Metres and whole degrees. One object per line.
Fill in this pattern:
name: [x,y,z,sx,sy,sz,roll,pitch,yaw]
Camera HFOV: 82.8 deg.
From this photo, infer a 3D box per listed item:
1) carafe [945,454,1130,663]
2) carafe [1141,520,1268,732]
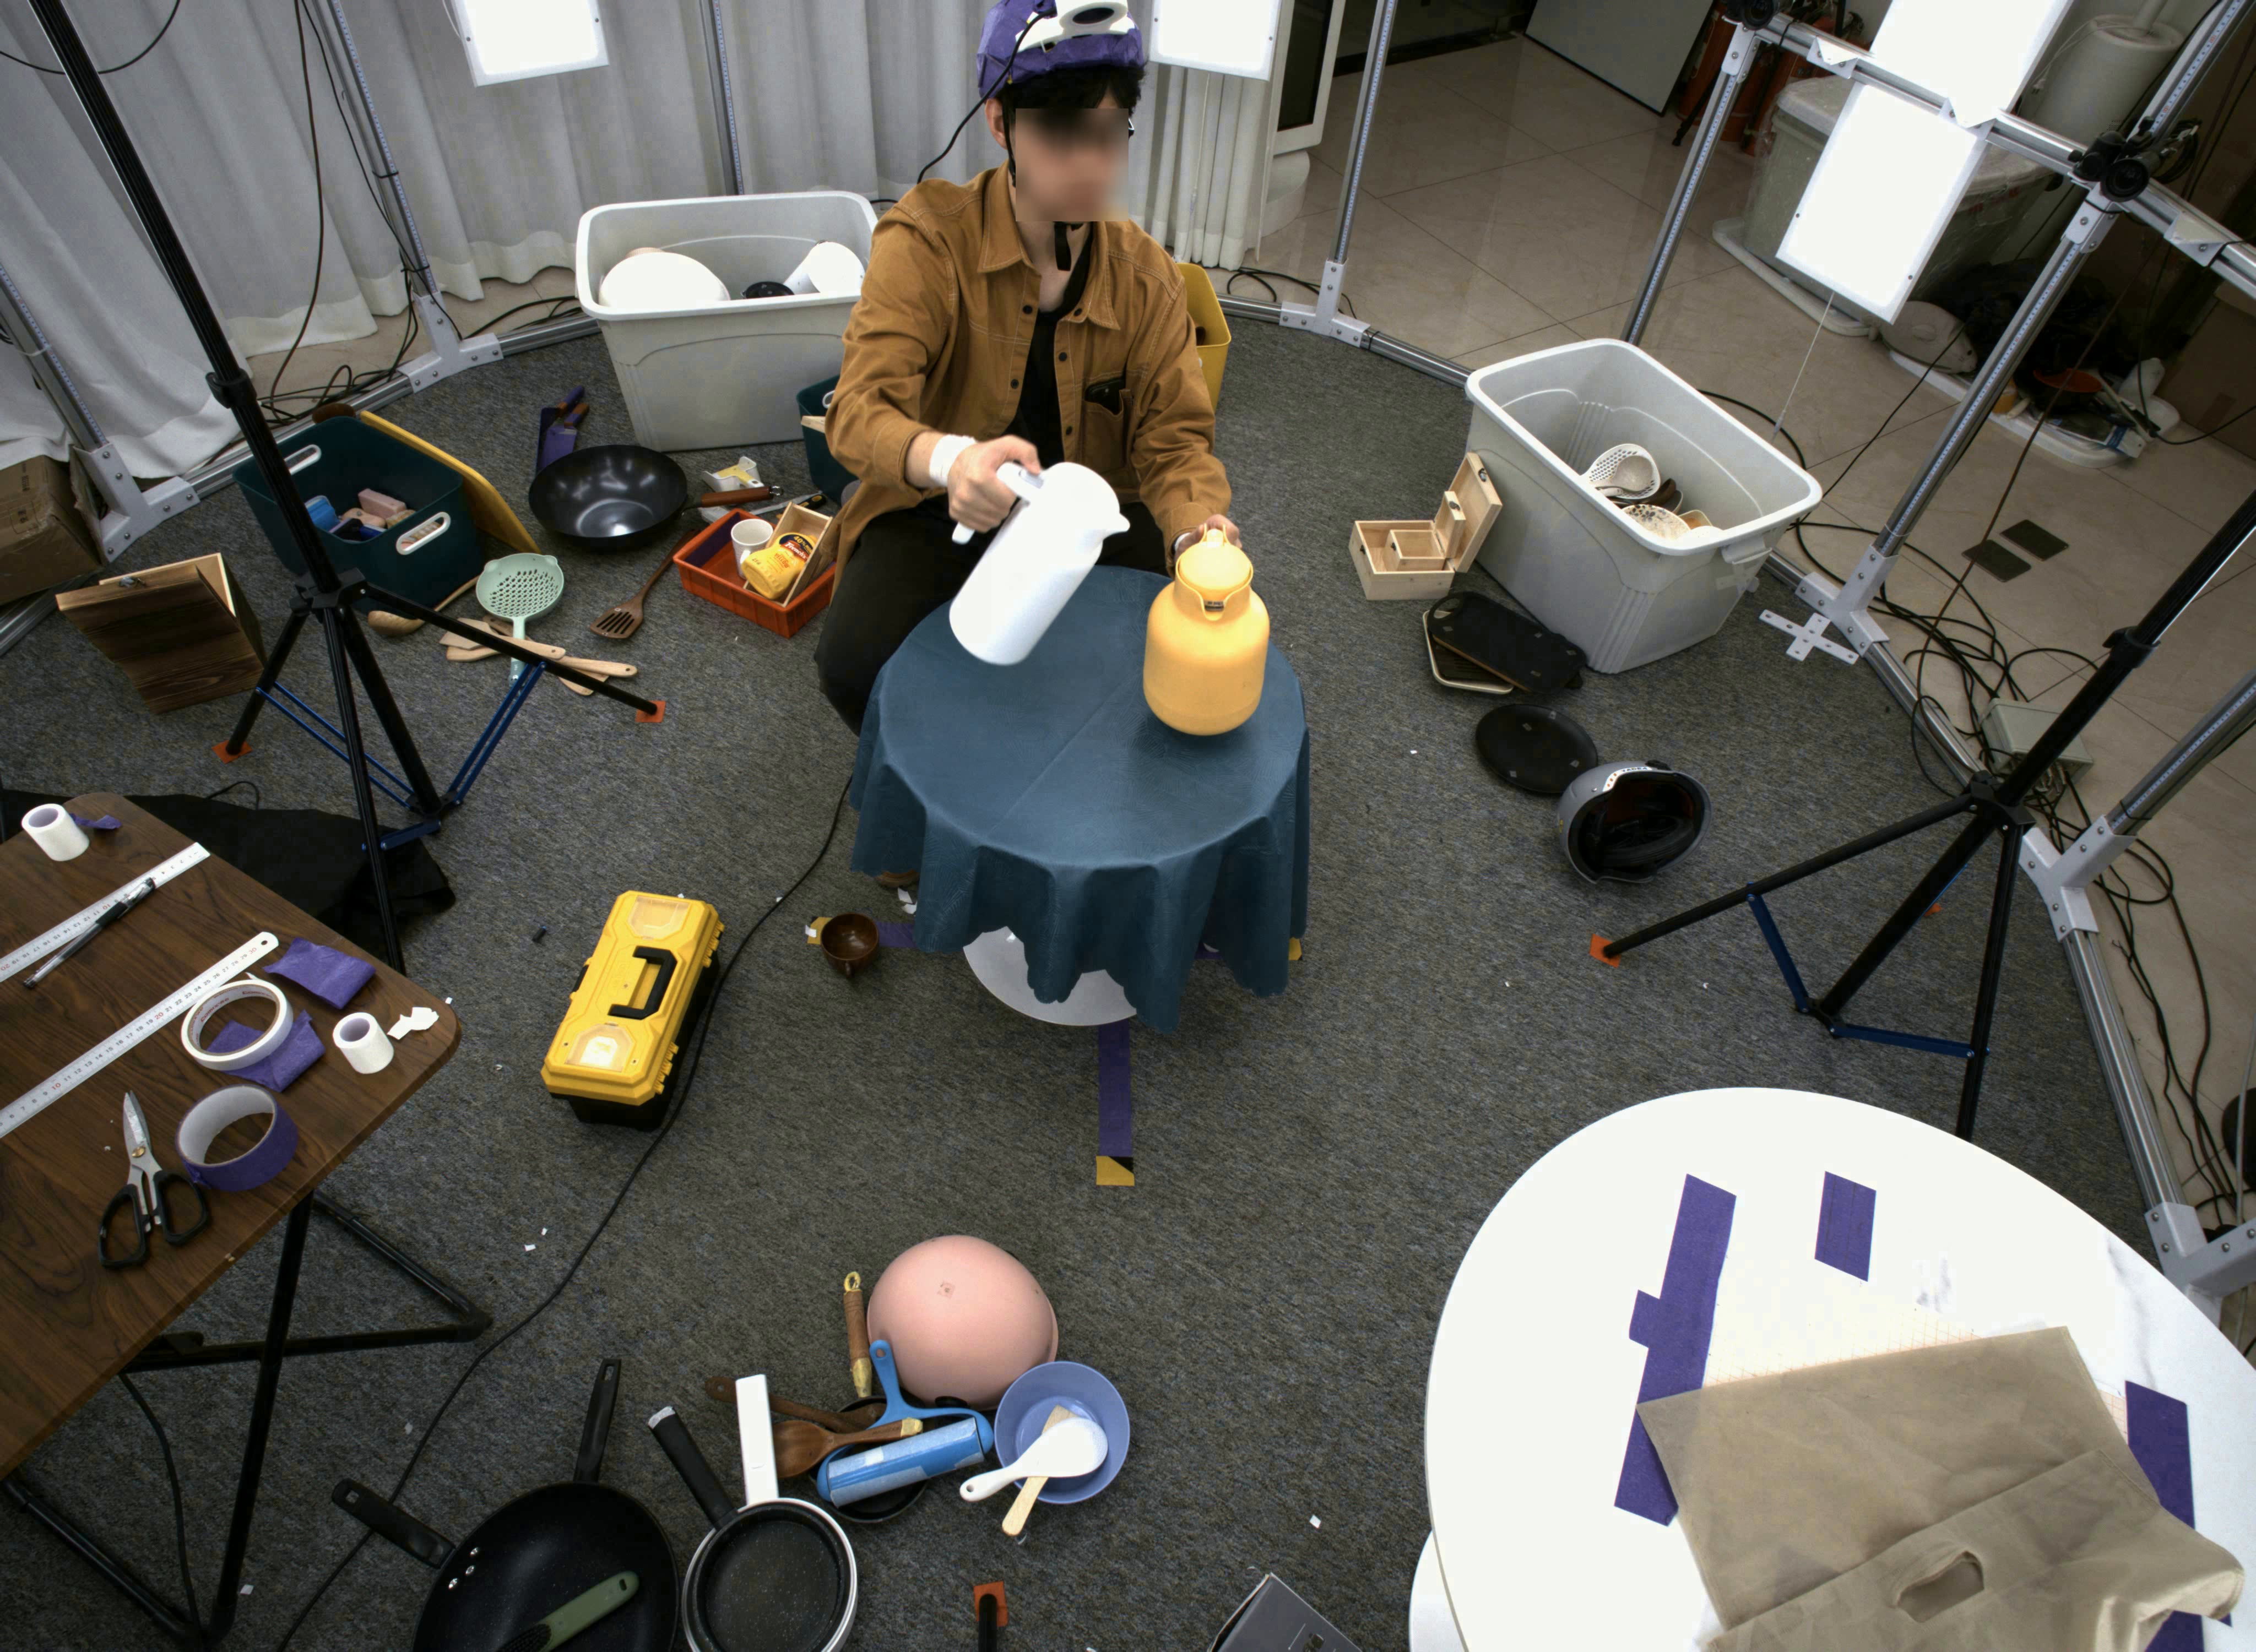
carafe: [-0.134,-0.325,1.559,0.171,0.265,0.127,24,51,-19]
carafe: [0.106,-0.269,1.692,0.163,0.254,0.207,7,54,1]
